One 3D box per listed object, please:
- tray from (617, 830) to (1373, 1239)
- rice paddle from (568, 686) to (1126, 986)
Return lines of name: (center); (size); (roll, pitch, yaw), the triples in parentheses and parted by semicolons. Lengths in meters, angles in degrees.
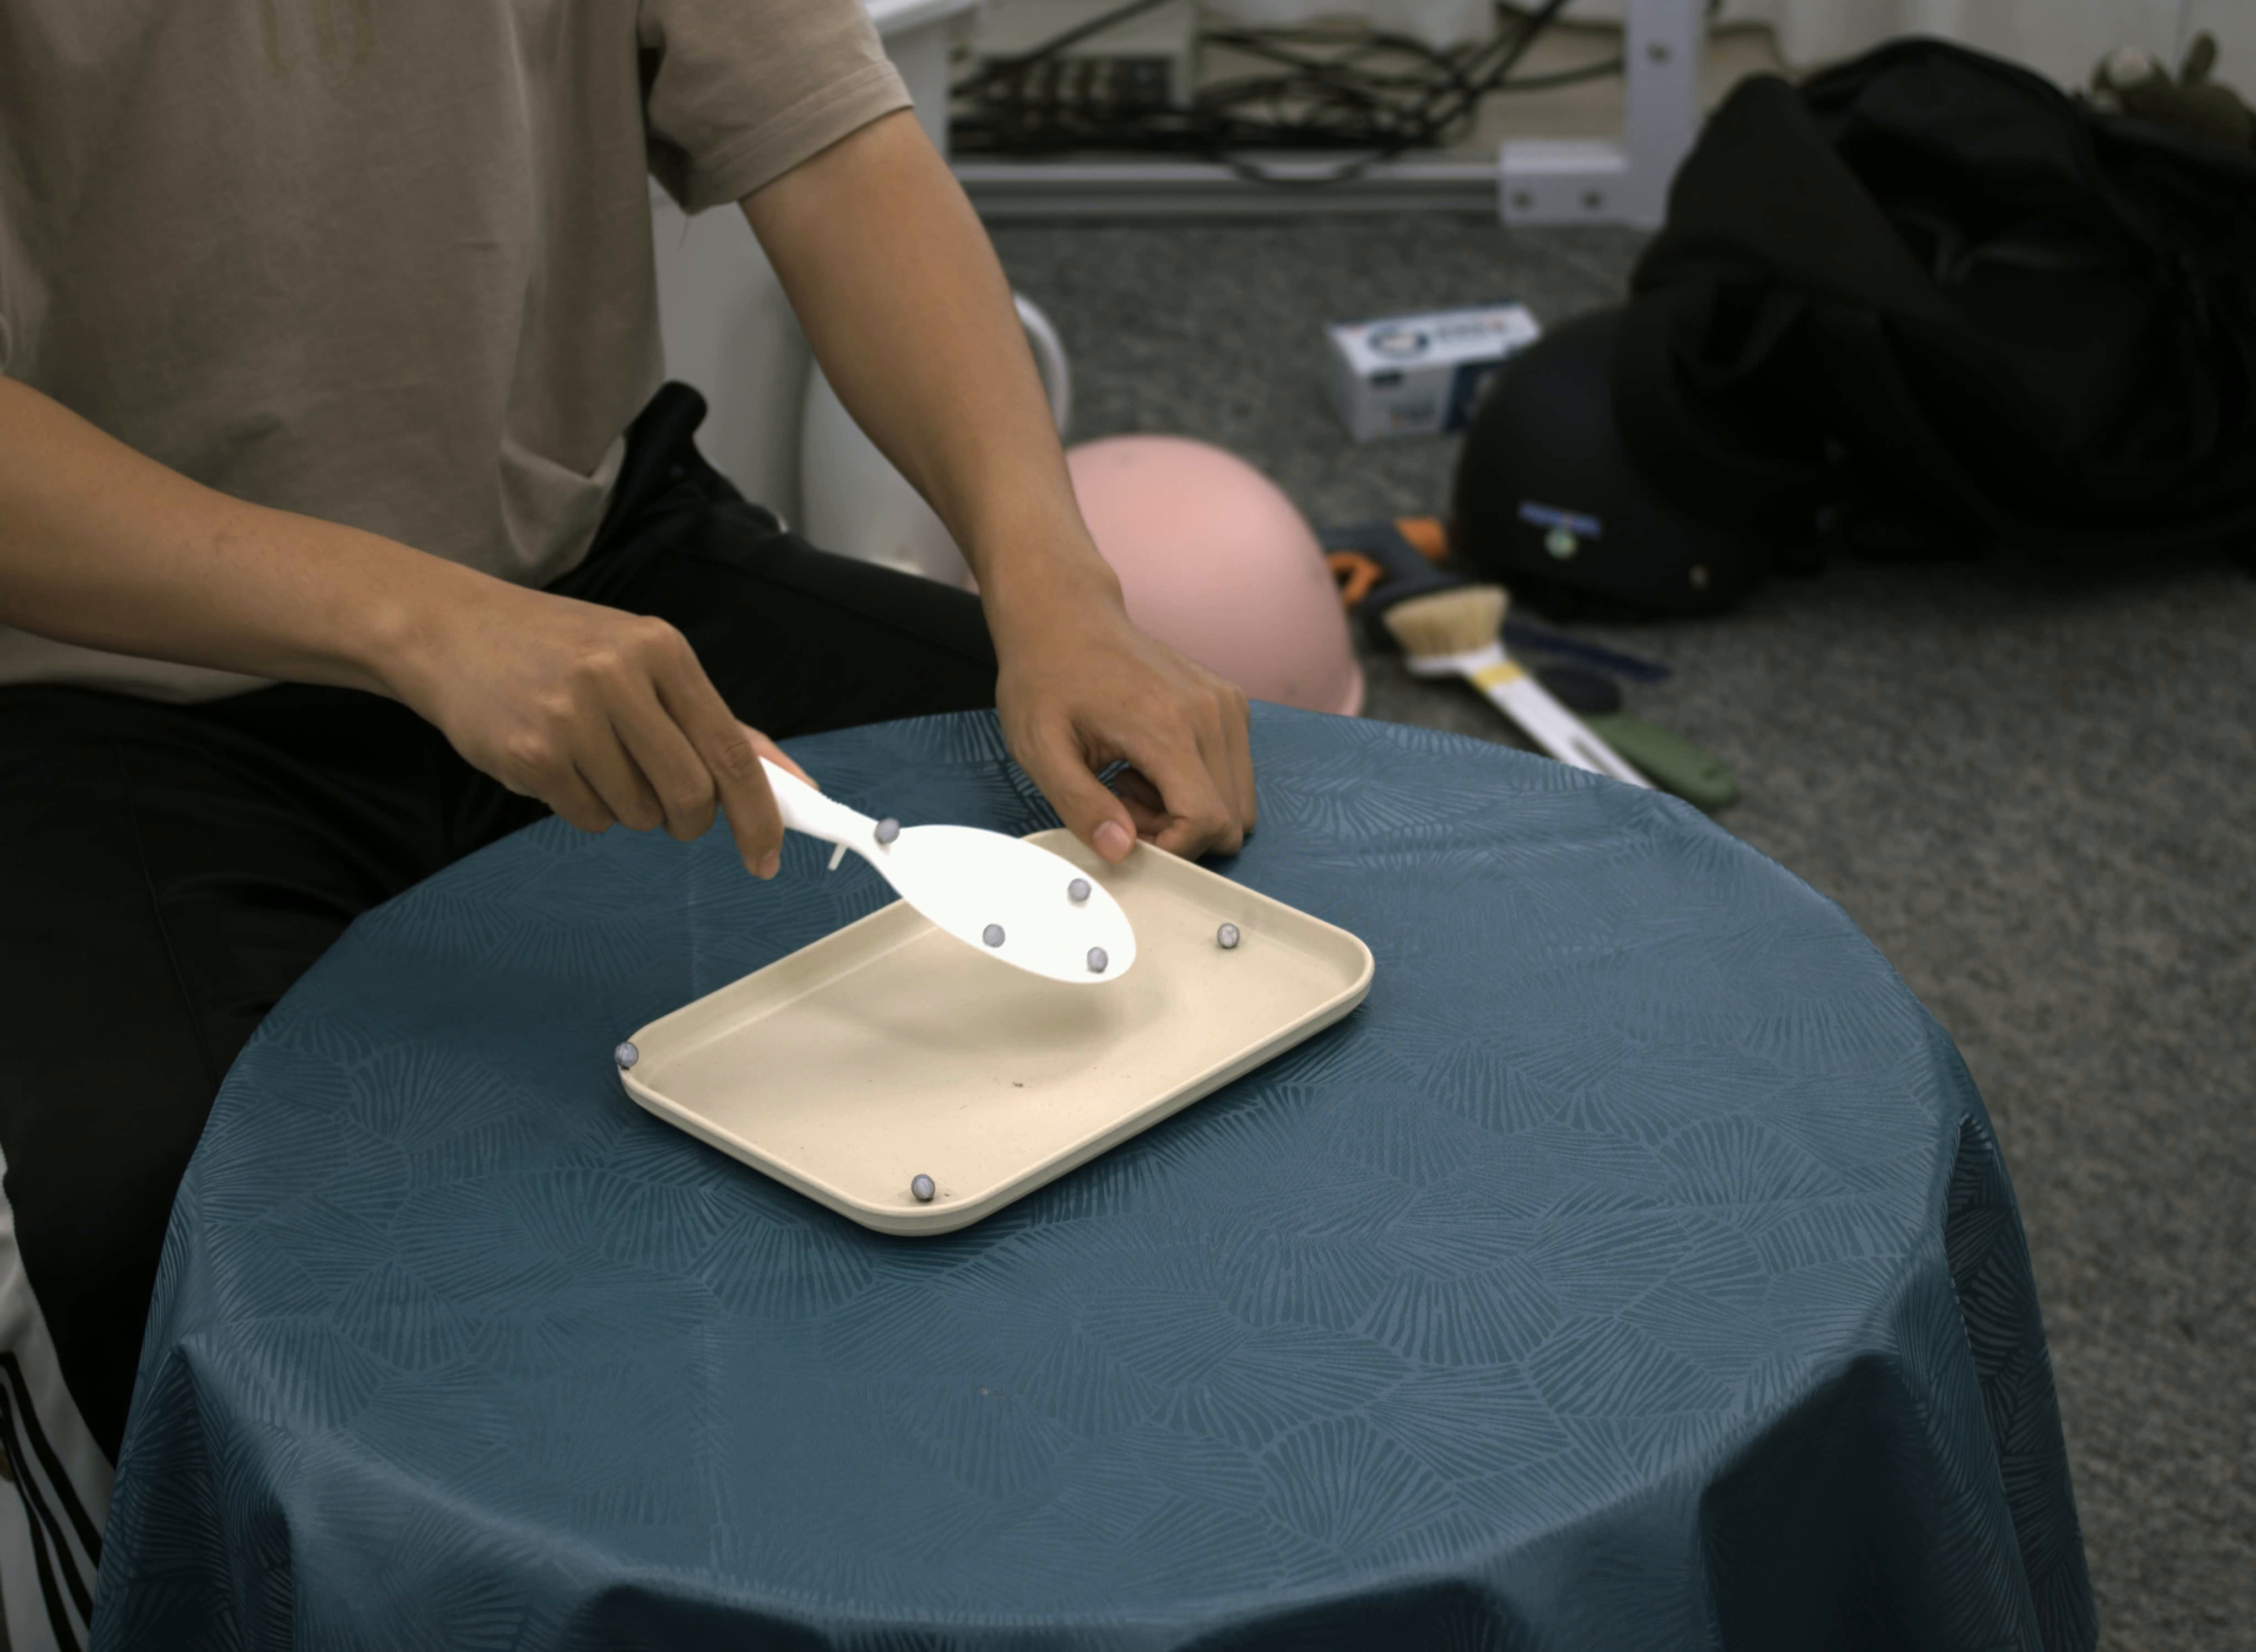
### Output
tray: (-0.044, 0.071, 1.944); (0.171, 0.017, 0.242); (24, 37, 39)
rice paddle: (-0.093, 0.004, 1.940); (0.204, 0.029, 0.070); (23, 36, -7)
